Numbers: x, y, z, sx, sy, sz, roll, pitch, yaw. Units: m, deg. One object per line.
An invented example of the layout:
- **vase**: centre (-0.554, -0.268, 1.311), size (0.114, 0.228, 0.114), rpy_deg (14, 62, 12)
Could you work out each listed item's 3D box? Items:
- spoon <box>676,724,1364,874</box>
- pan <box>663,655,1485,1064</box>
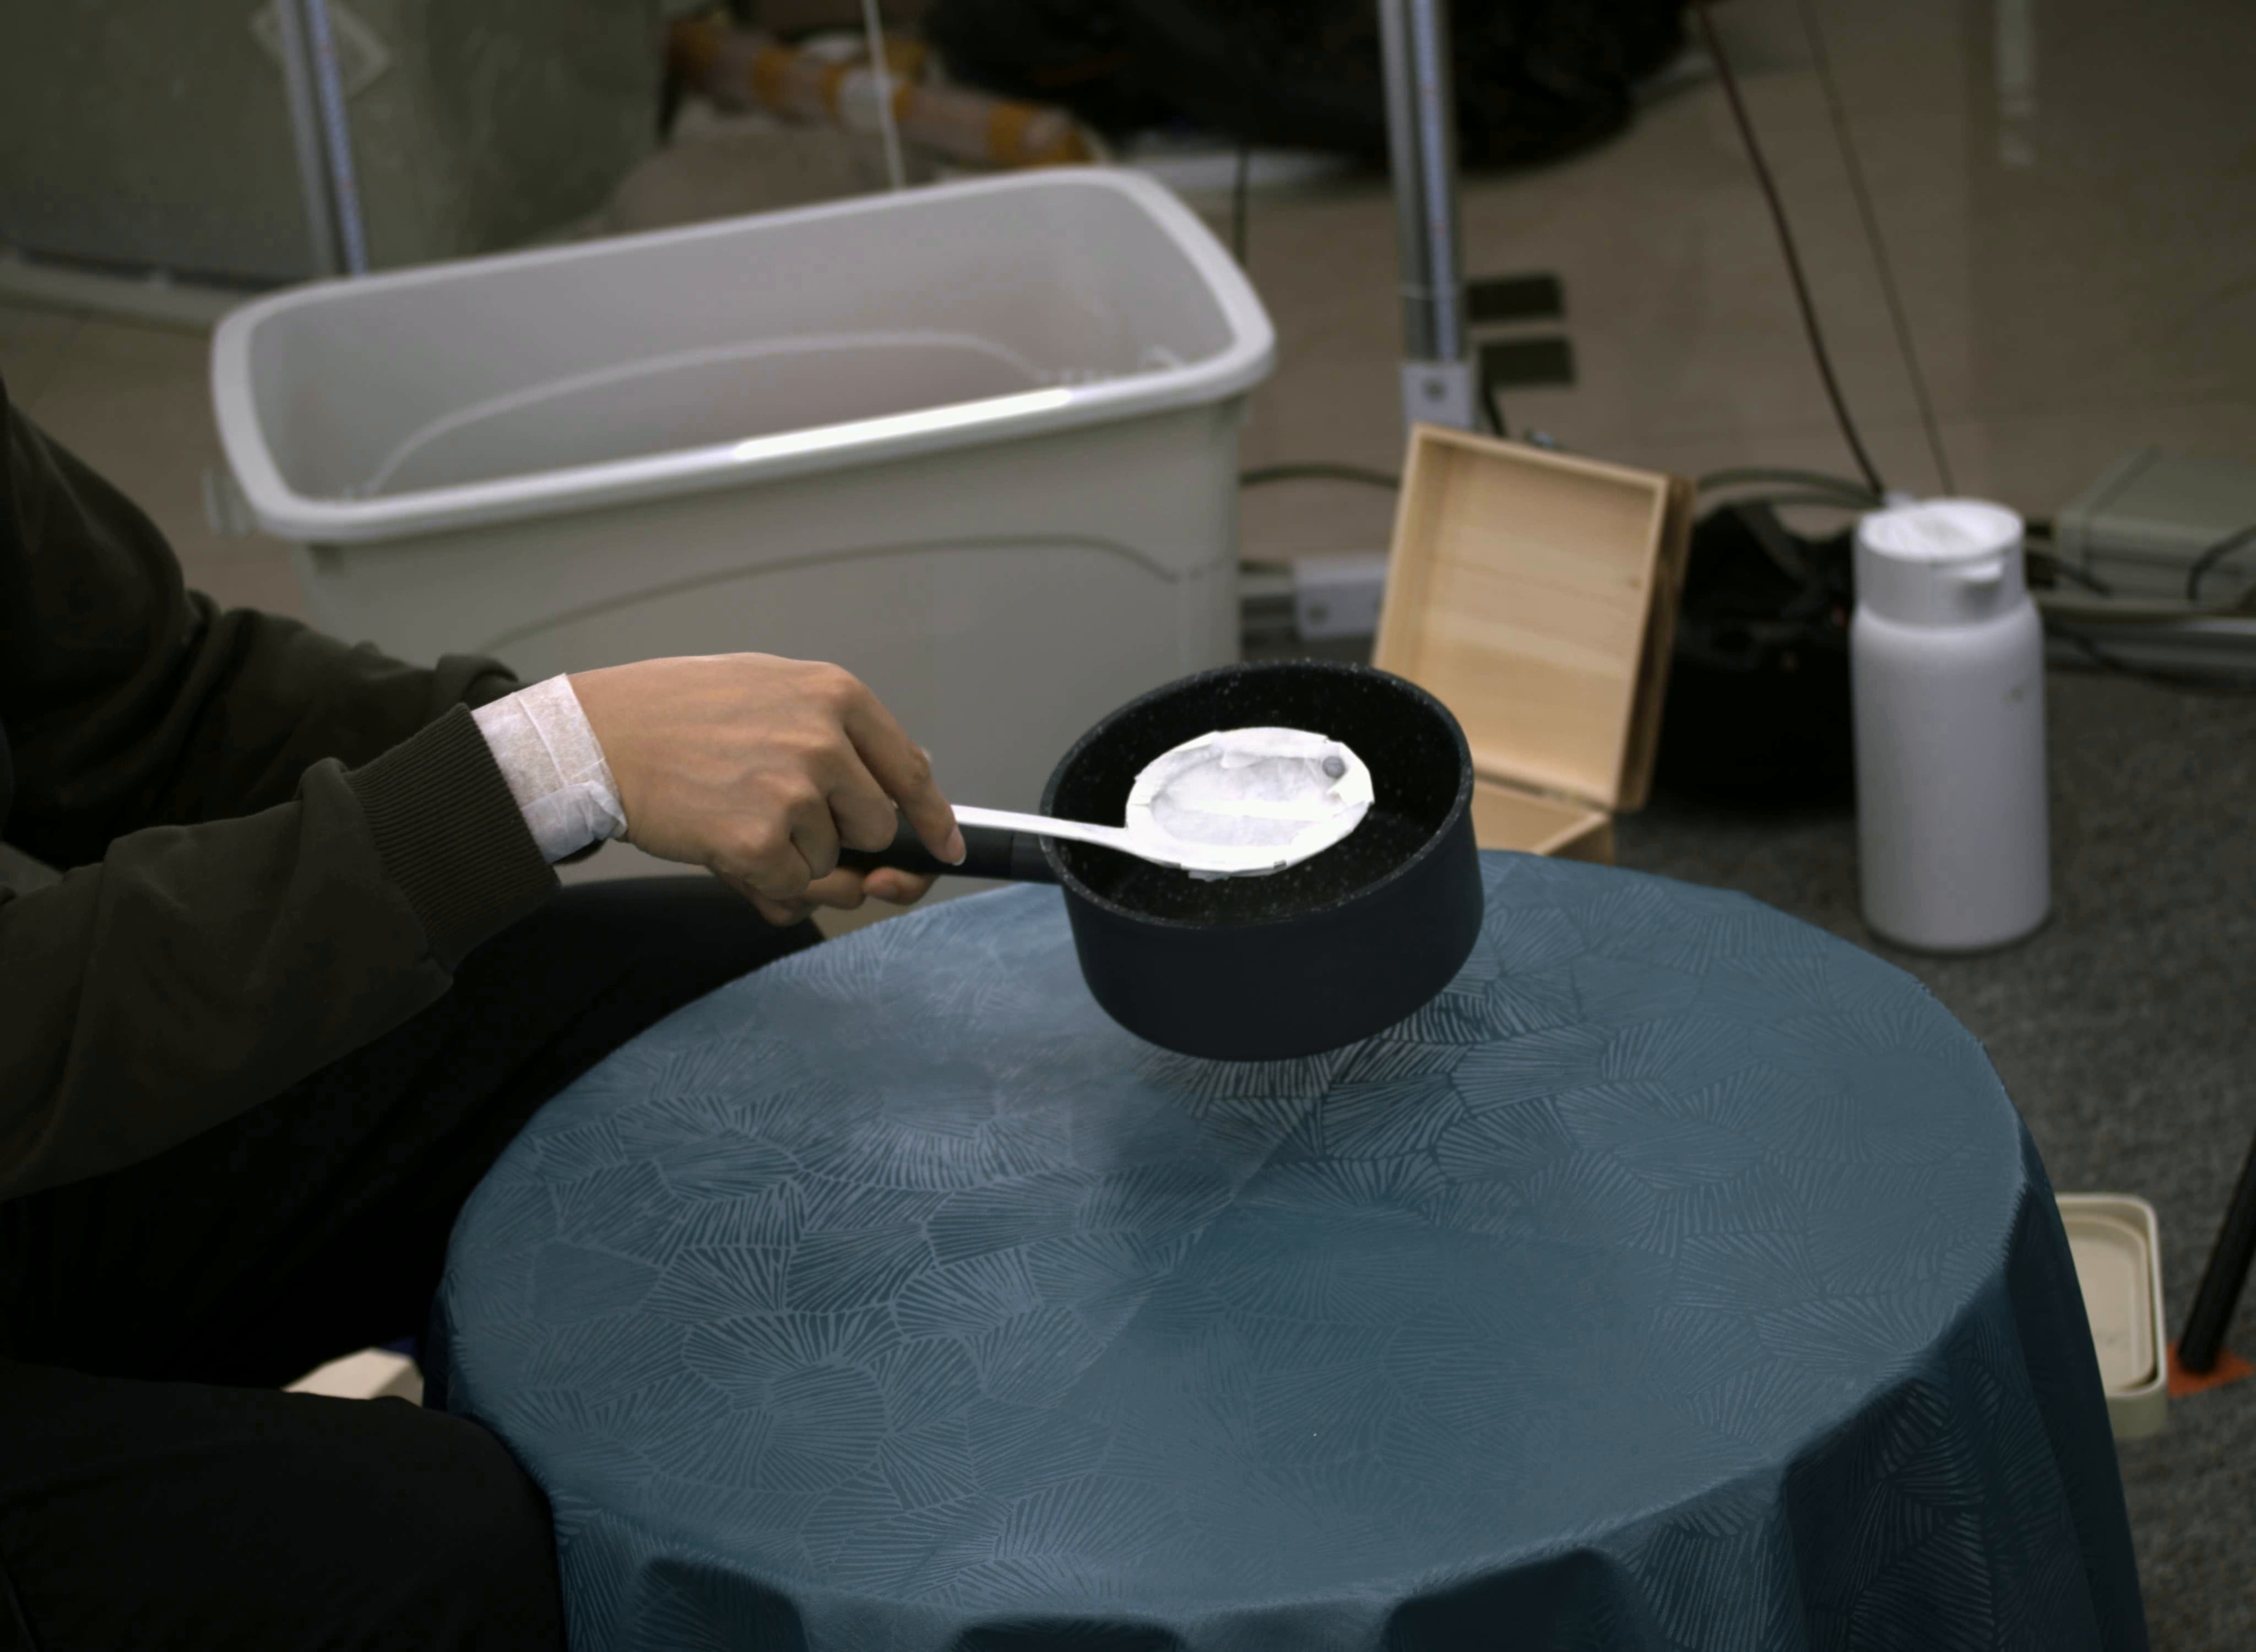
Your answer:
- **spoon**: centre (-0.040, -0.027, 2.087), size (0.278, 0.060, 0.099), rpy_deg (11, 17, -34)
- **pan**: centre (-0.022, 0.013, 2.244), size (0.328, 0.088, 0.169), rpy_deg (0, 38, 14)
